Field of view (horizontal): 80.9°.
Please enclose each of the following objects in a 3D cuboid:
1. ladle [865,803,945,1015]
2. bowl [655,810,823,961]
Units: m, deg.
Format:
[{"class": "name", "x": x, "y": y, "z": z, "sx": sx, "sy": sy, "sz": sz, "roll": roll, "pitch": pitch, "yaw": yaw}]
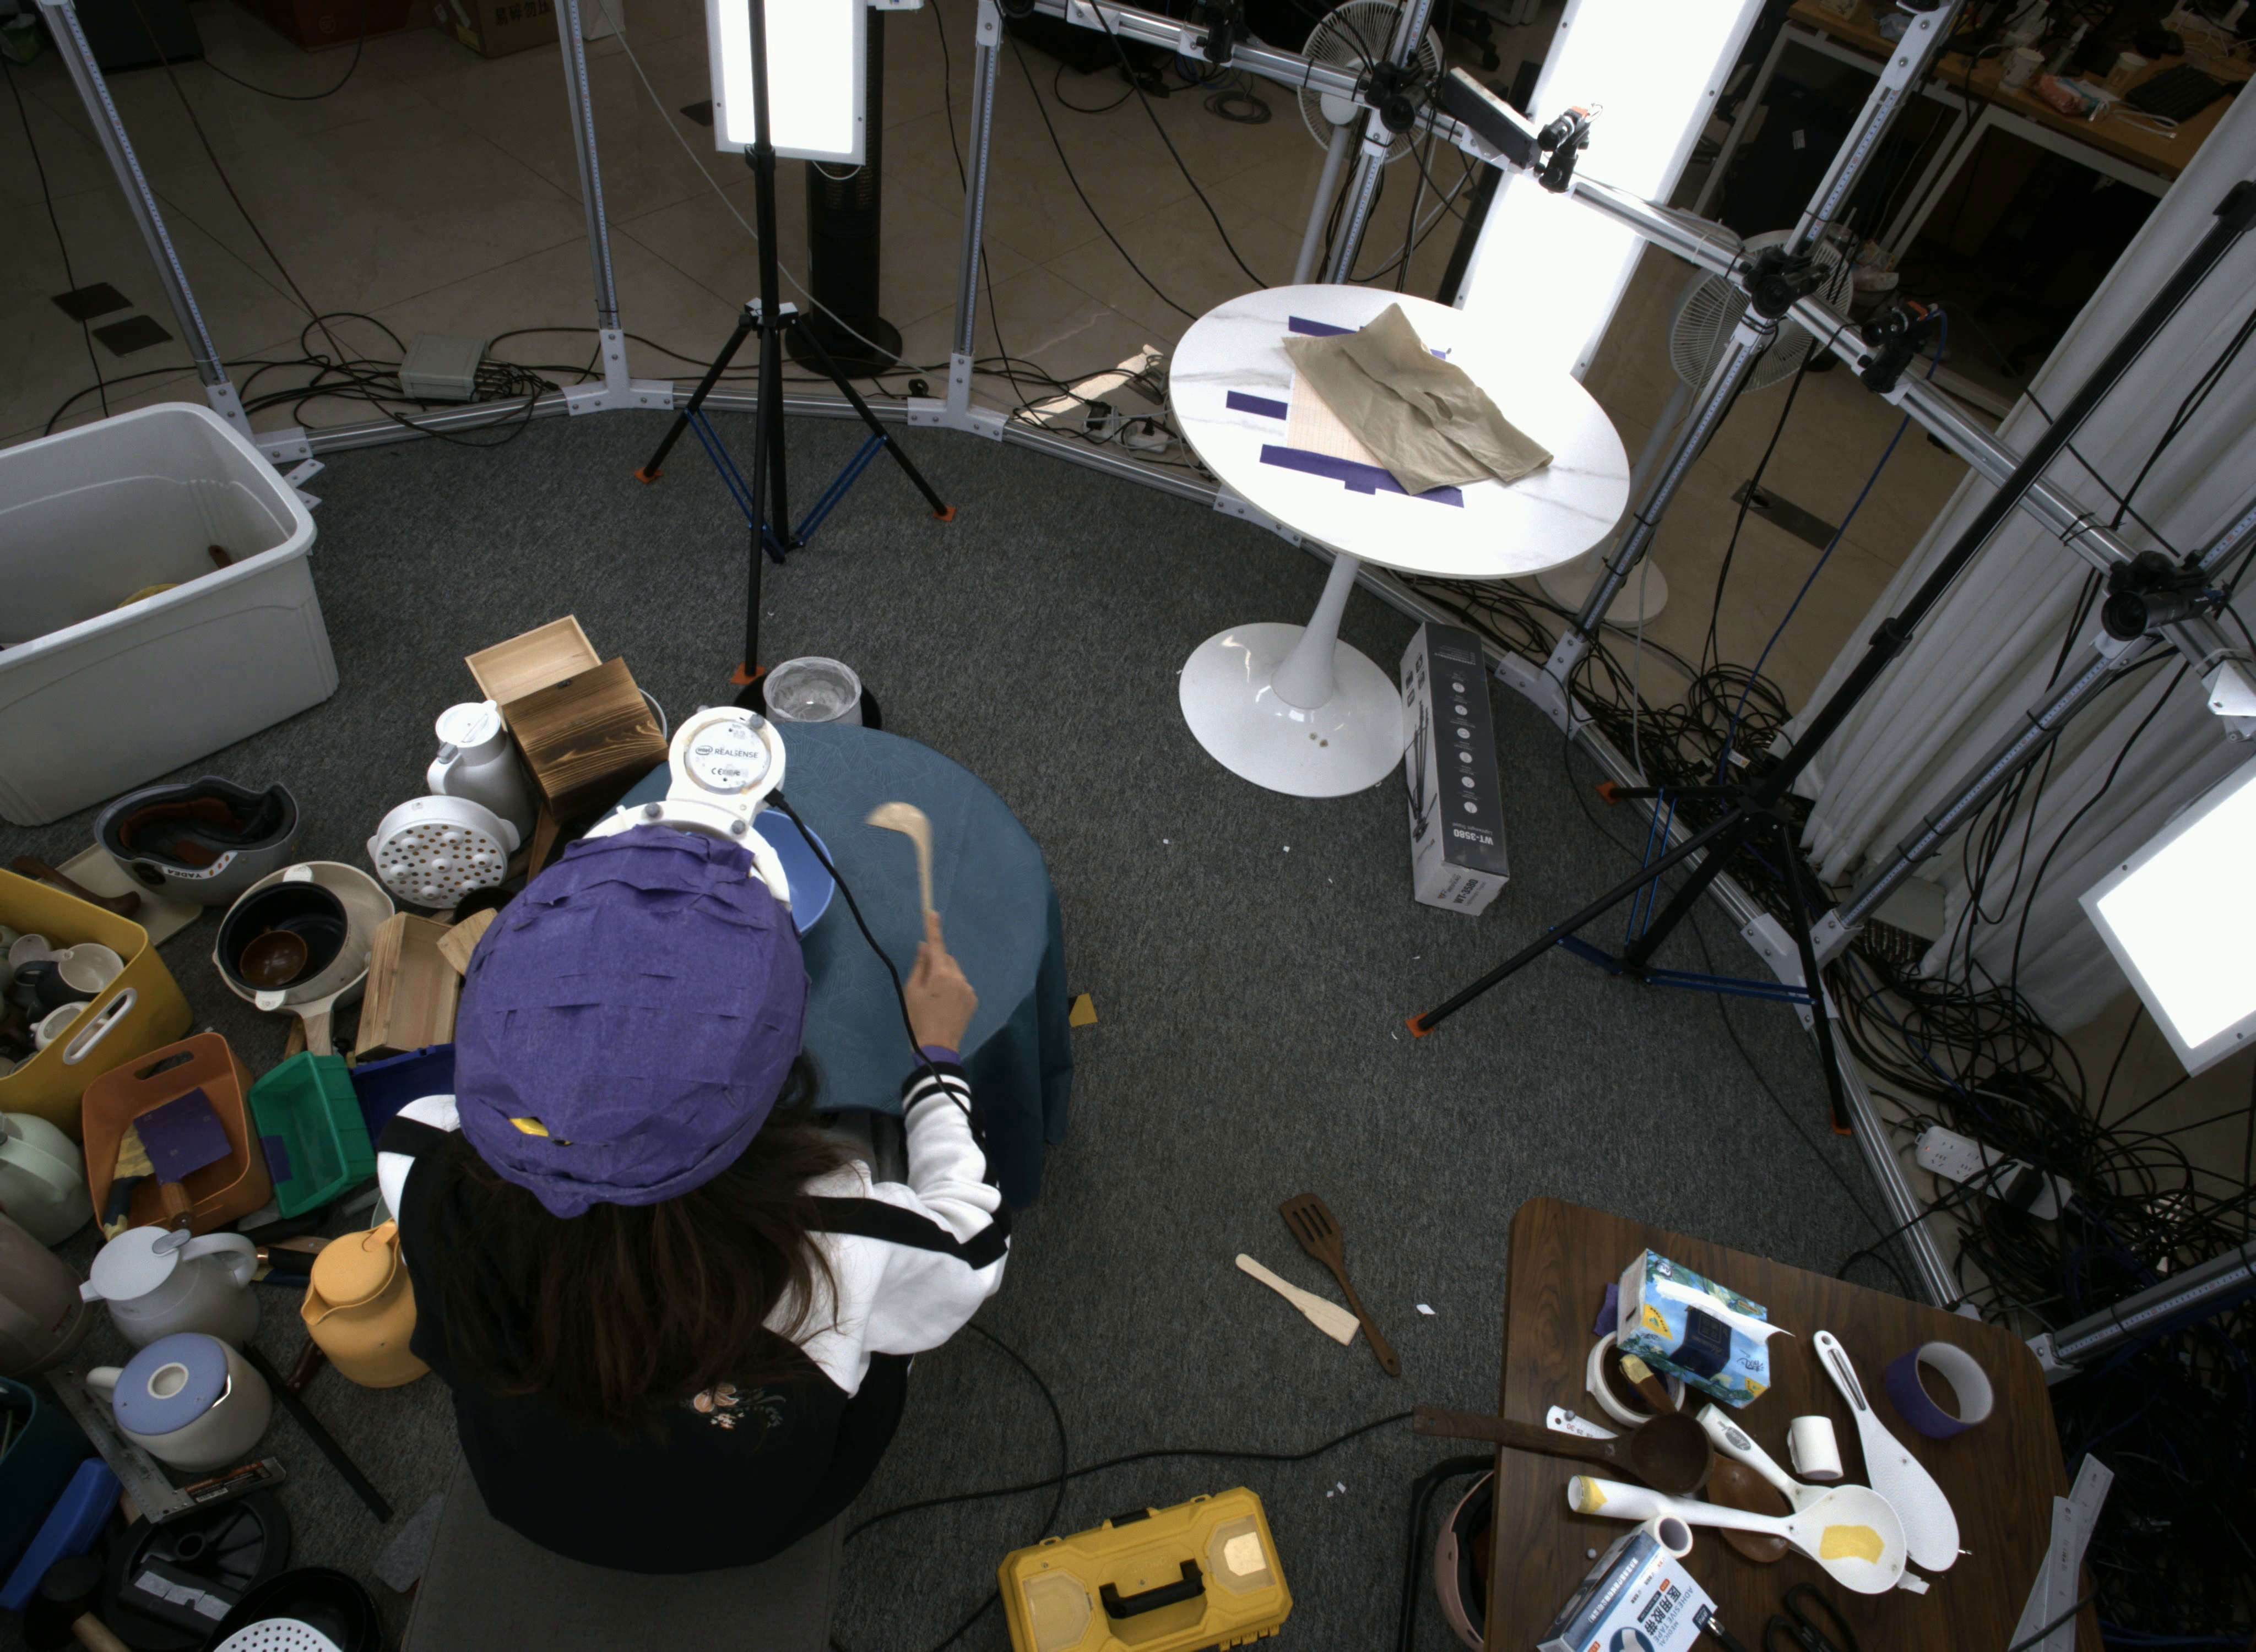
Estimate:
[{"class": "ladle", "x": -0.256, "y": 0.098, "z": 1.497, "sx": 0.071, "sy": 0.074, "sz": 0.253, "roll": -17, "pitch": 72, "yaw": 26}, {"class": "bowl", "x": -0.475, "y": 0.086, "z": 1.576, "sx": 0.197, "sy": 0.096, "sz": 0.193, "roll": 12, "pitch": 53, "yaw": -14}]
